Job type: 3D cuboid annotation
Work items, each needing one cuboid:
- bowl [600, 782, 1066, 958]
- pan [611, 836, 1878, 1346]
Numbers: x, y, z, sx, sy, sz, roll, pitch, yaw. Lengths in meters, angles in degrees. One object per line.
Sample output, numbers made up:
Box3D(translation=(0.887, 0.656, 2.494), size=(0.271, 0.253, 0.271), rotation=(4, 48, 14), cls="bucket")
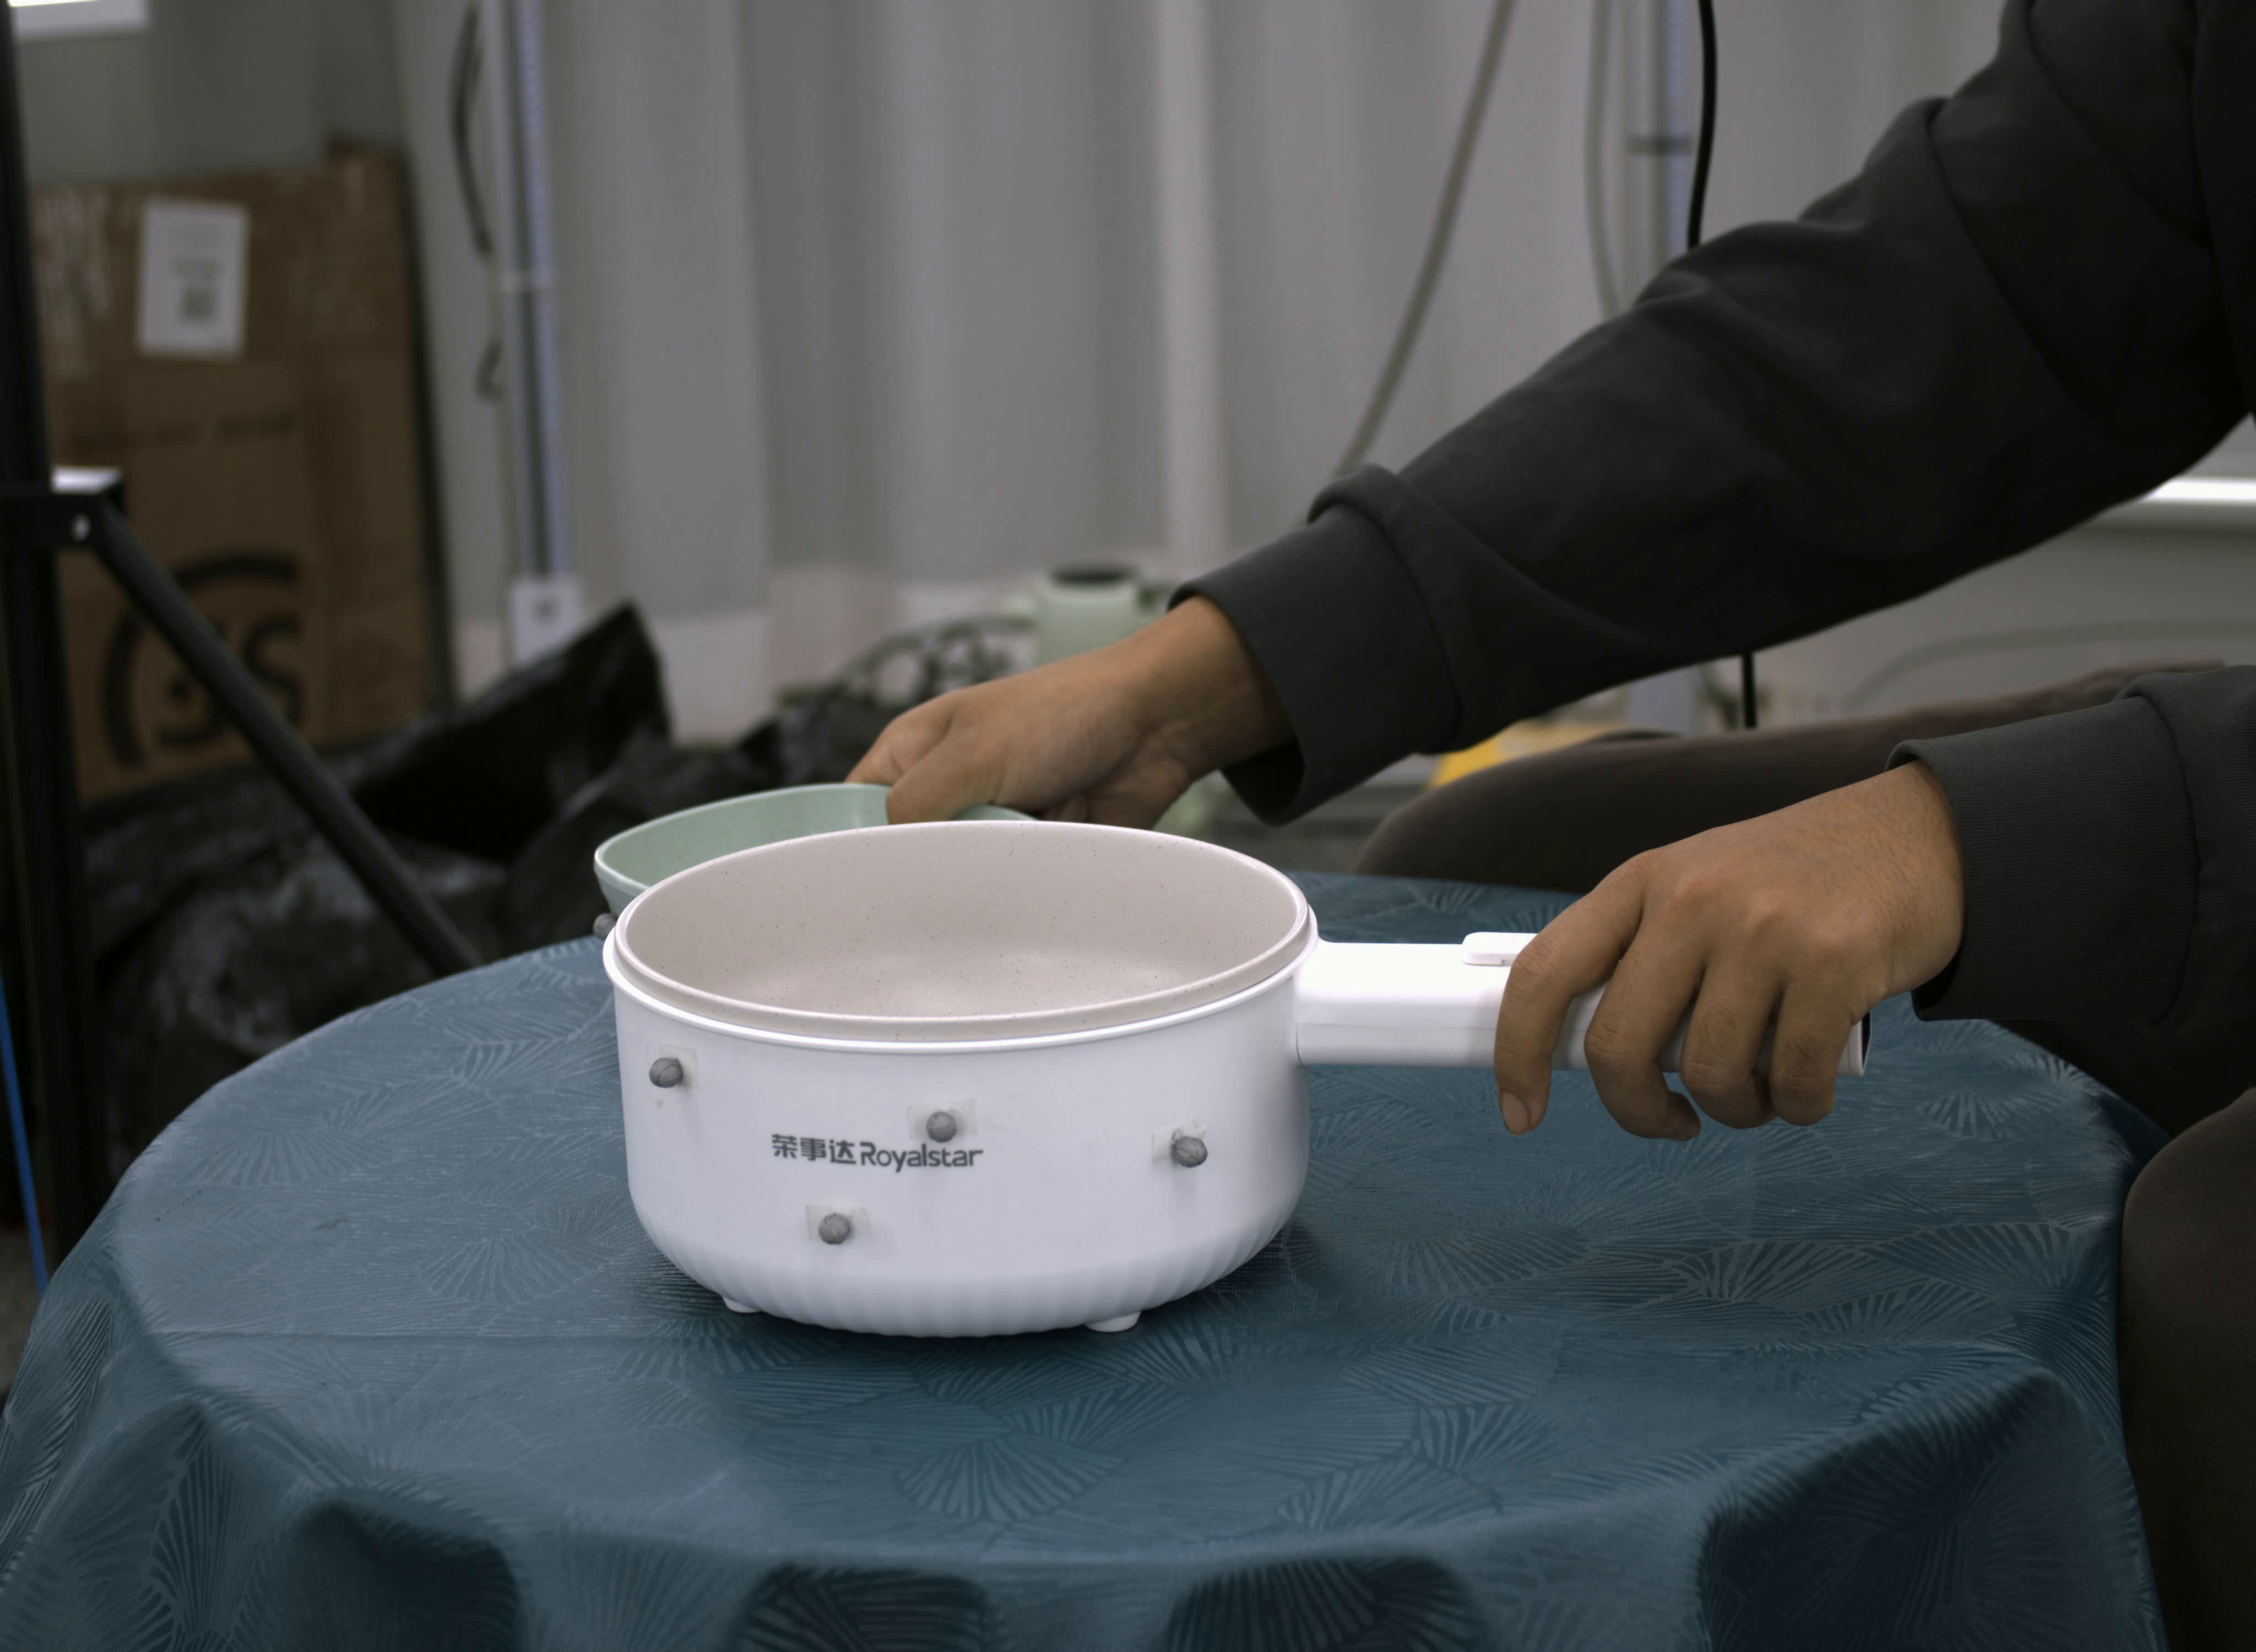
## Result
Box3D(translation=(-0.094, 0.035, 1.725), size=(0.151, 0.058, 0.152), rotation=(-4, 17, 0), cls="bowl")
Box3D(translation=(0.030, 0.080, 1.484), size=(0.357, 0.102, 0.200), rotation=(3, 15, 13), cls="pan")
